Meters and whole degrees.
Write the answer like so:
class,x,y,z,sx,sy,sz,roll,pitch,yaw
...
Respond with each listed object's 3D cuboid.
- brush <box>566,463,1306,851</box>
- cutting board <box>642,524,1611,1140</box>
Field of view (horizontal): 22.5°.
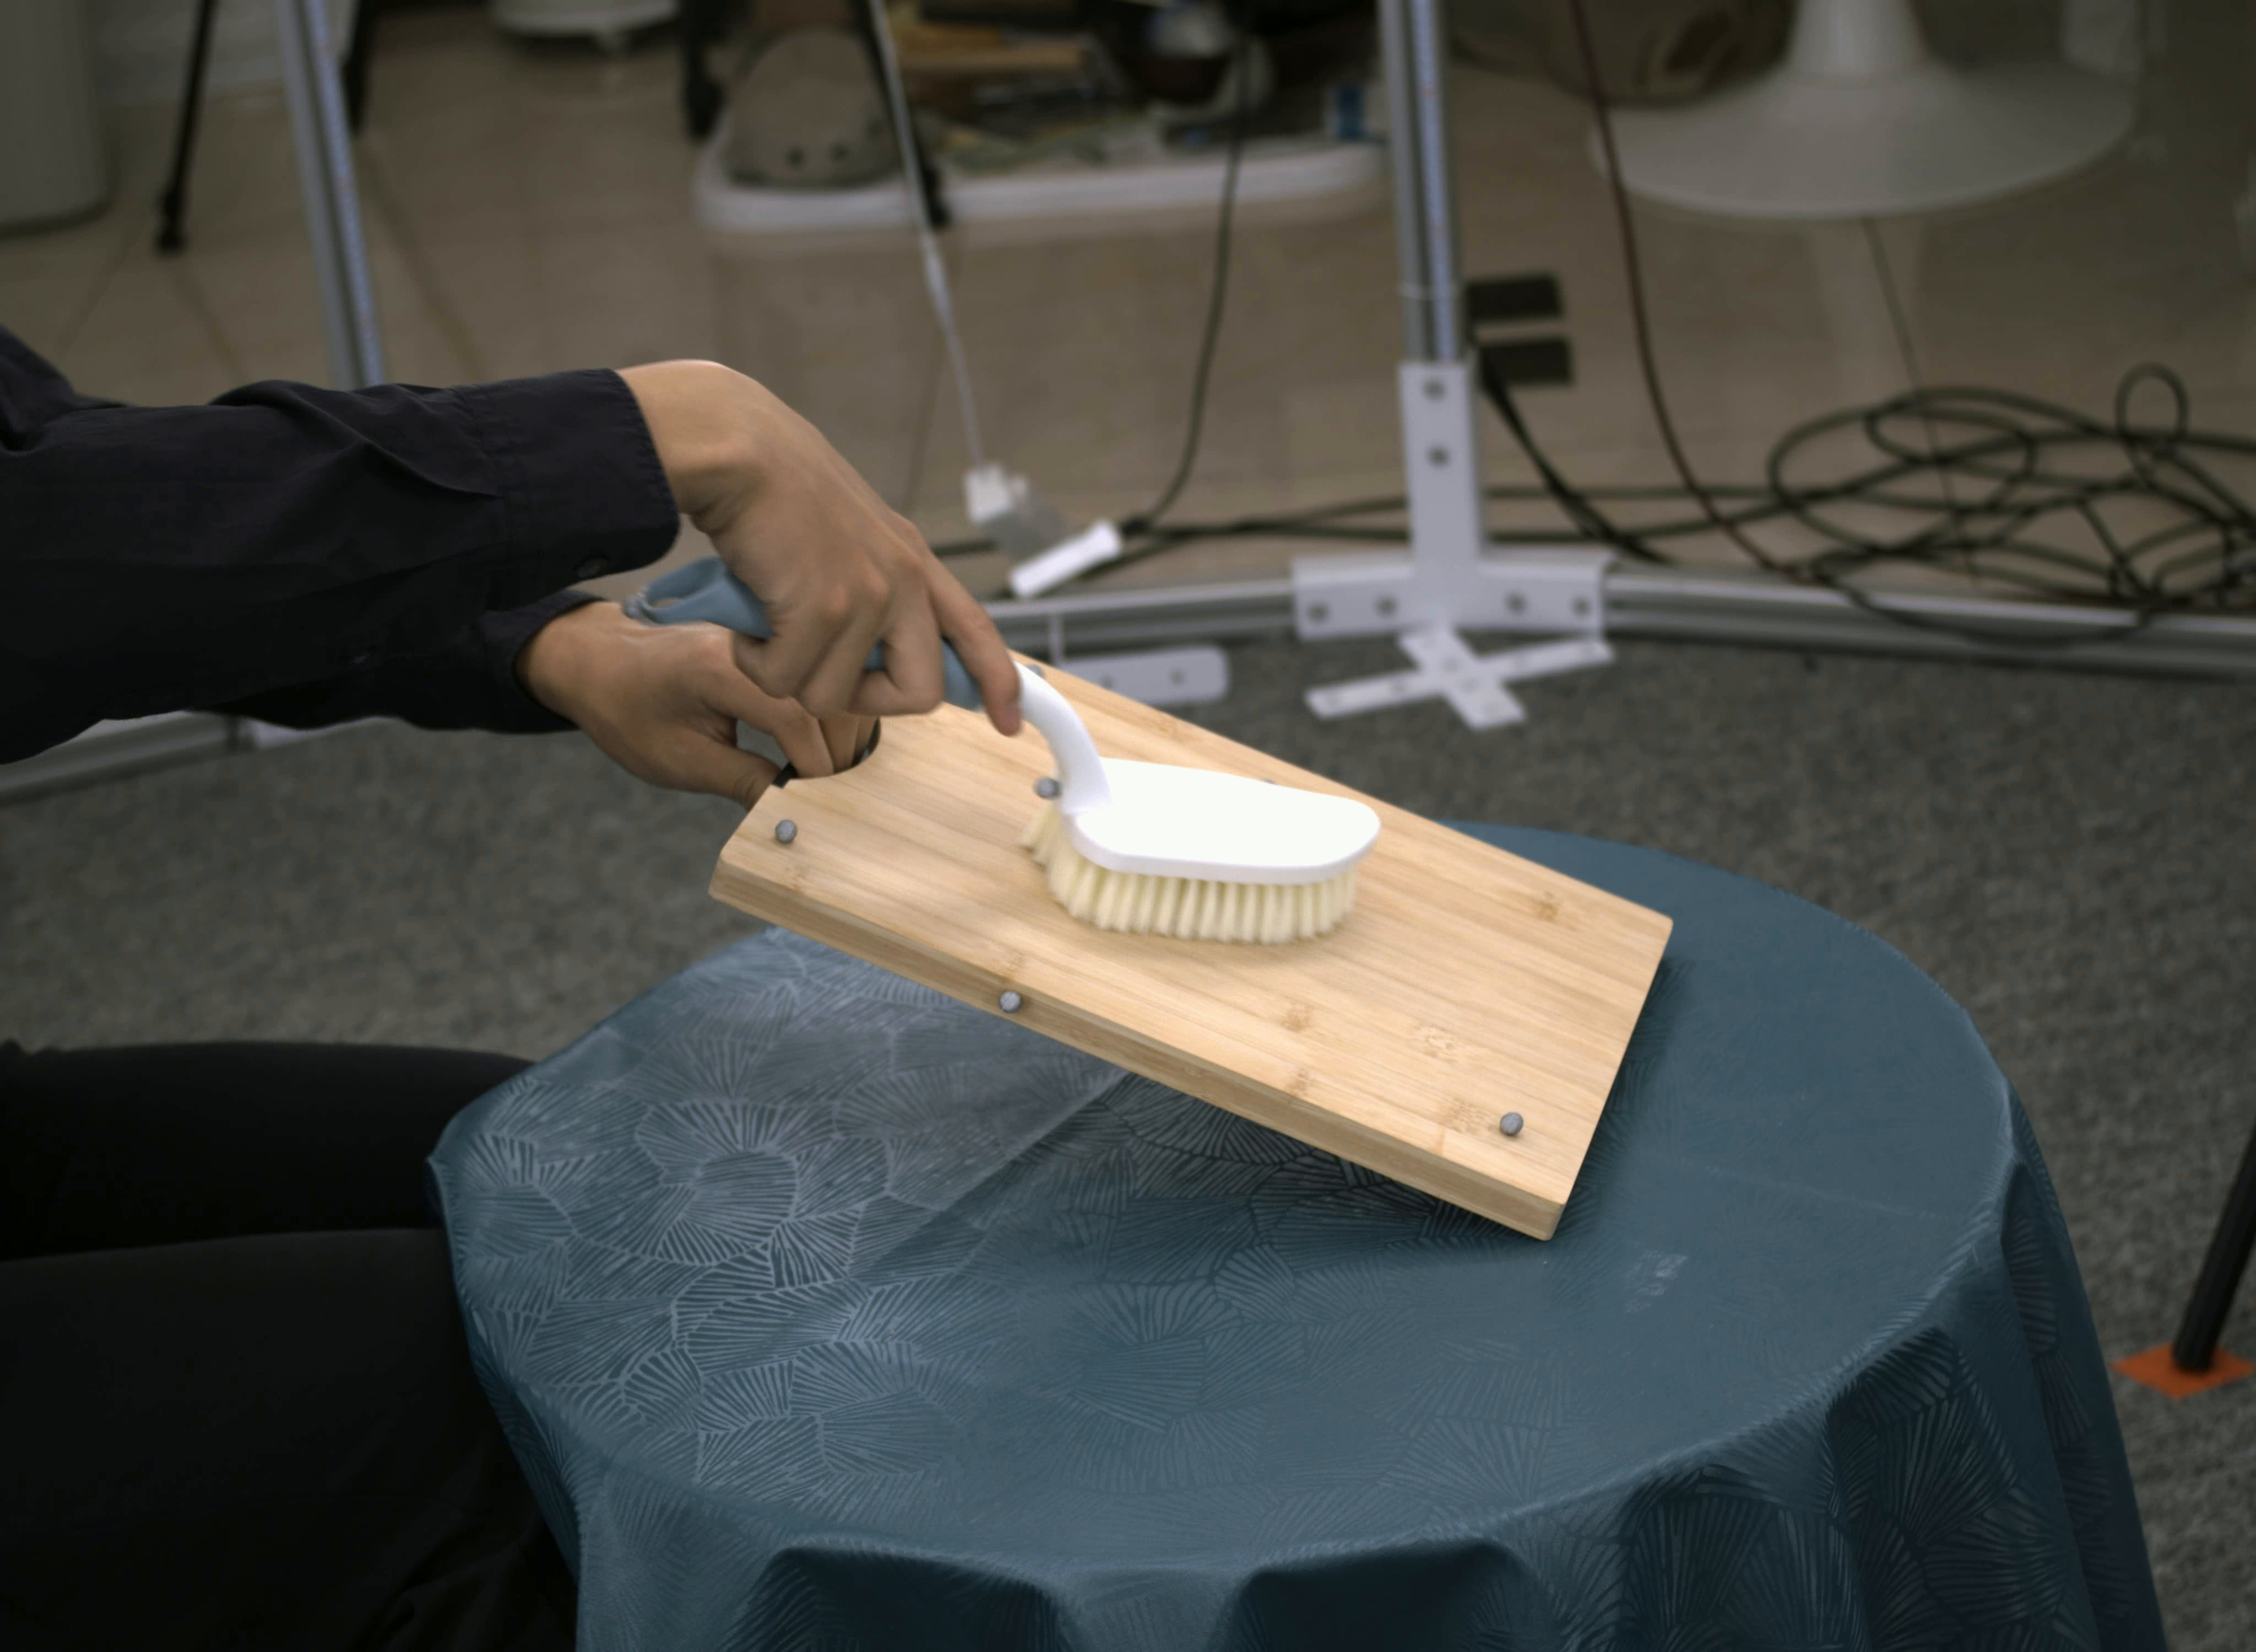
class,x,y,z,sx,sy,sz,roll,pitch,yaw
brush,-0.081,-0.053,2.143,0.327,0.084,0.083,18,-9,-29
cutting board,0.006,-0.002,2.216,0.348,0.024,0.247,21,29,3
